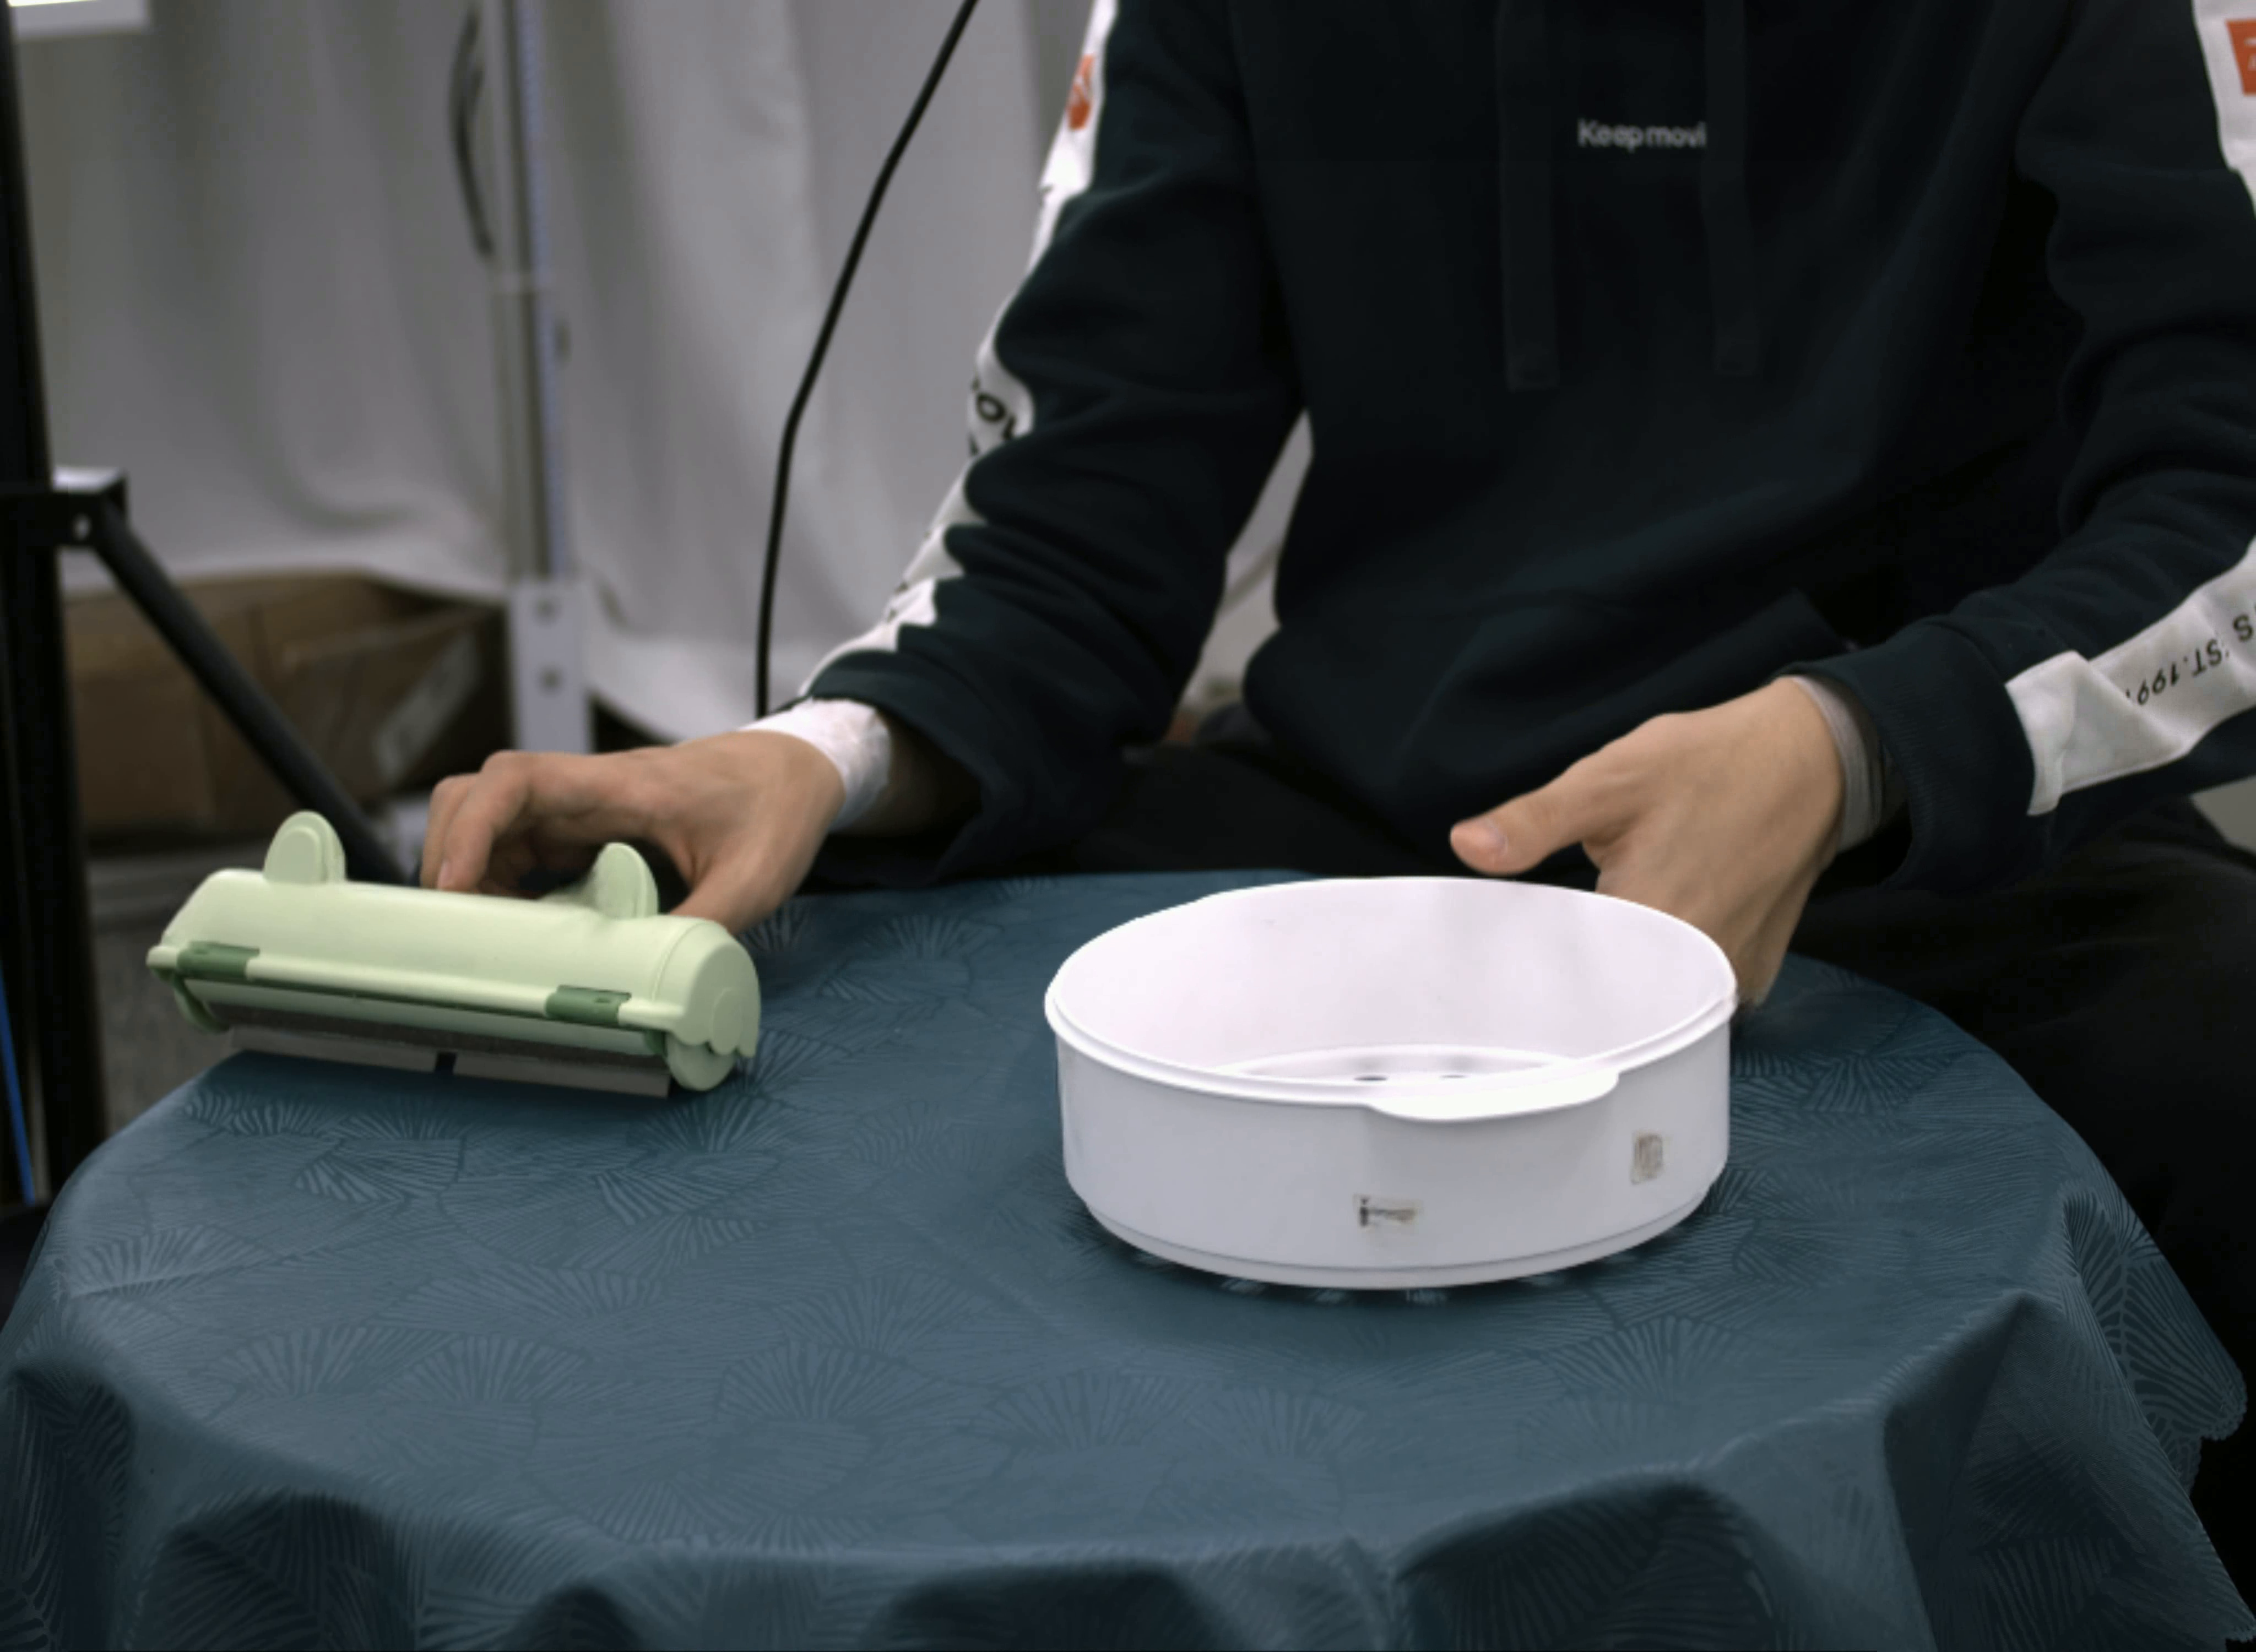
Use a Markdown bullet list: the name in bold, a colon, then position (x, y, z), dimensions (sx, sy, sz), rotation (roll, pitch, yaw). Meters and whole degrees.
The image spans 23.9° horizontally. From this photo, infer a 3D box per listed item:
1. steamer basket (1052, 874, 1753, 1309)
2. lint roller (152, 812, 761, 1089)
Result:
- **steamer basket**: position (0.080, 0.076, 1.531), dimensions (0.199, 0.069, 0.234), rotation (-7, 18, -12)
- **lint roller**: position (-0.191, 0.024, 1.746), dimensions (0.202, 0.082, 0.181), rotation (5, 22, 26)
